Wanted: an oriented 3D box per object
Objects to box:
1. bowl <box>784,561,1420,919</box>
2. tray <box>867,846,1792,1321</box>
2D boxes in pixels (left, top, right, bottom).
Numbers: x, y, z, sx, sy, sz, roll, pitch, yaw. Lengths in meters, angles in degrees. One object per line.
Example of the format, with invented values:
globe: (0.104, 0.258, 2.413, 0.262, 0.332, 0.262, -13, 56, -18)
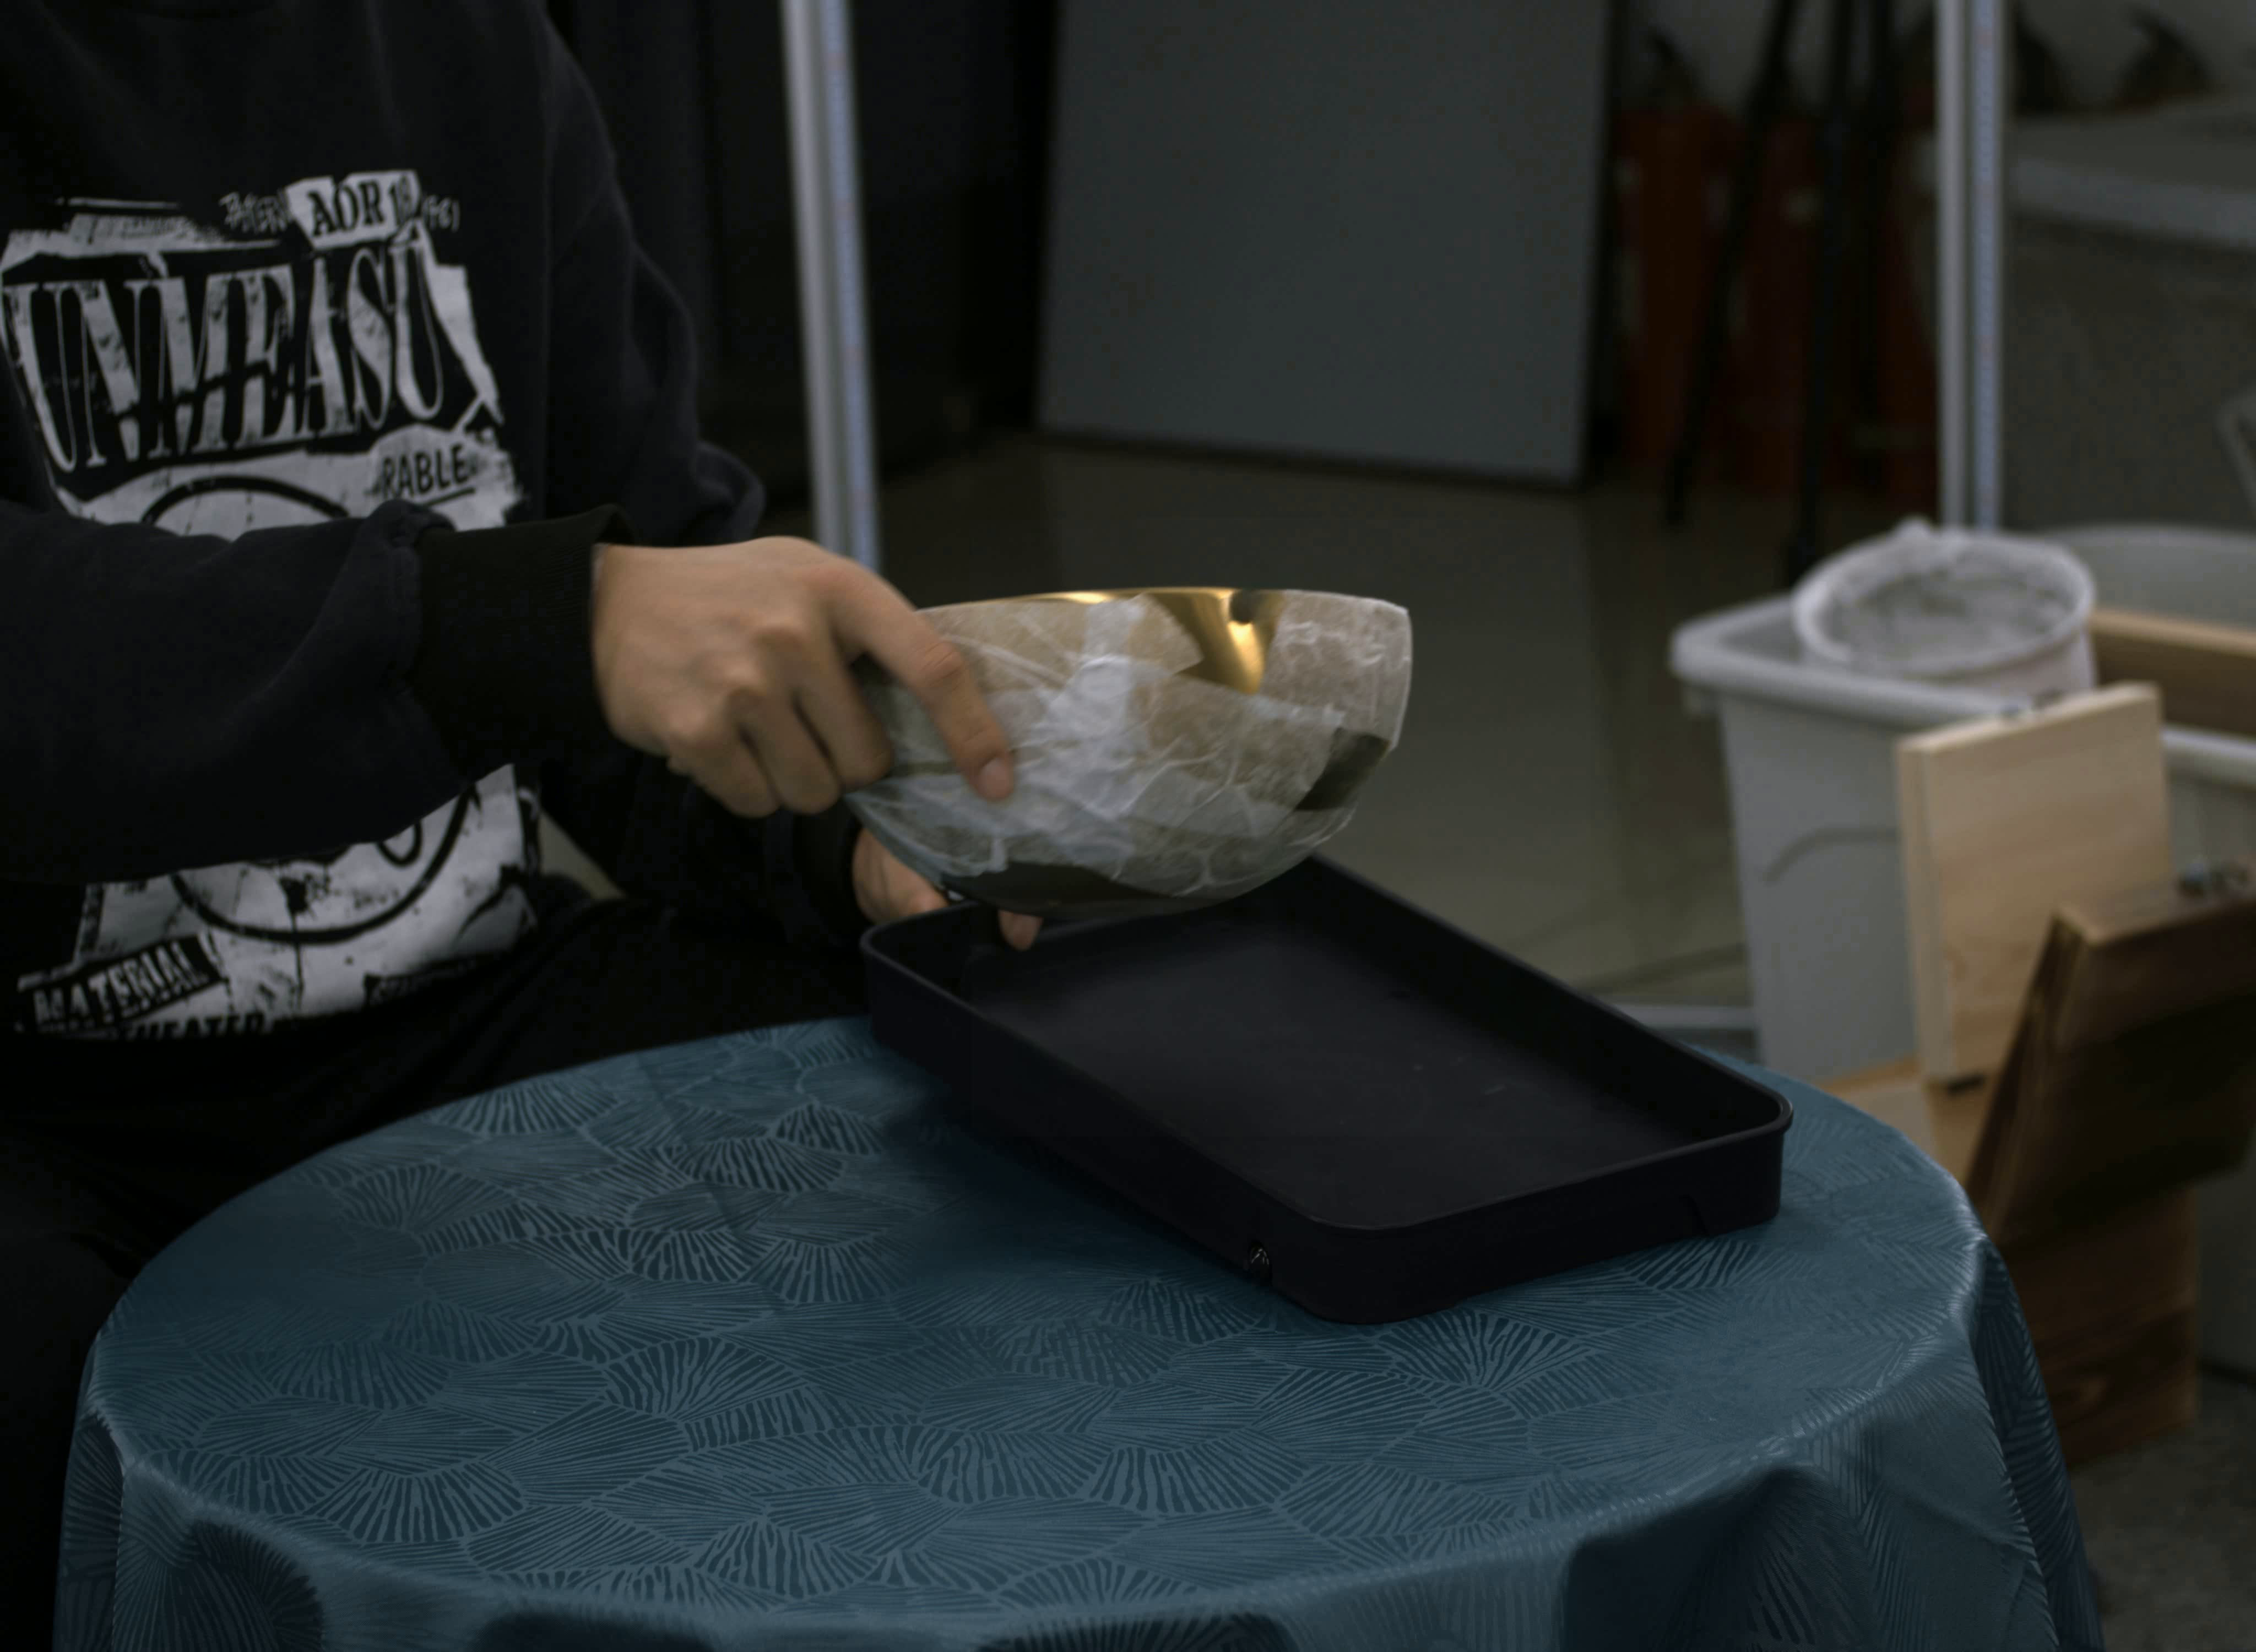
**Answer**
bowl: (-0.007, -0.020, 1.760, 0.212, 0.096, 0.215, -3, -8, -1)
tray: (0.060, 0.078, 1.782, 0.180, 0.037, 0.321, -13, 22, -28)
